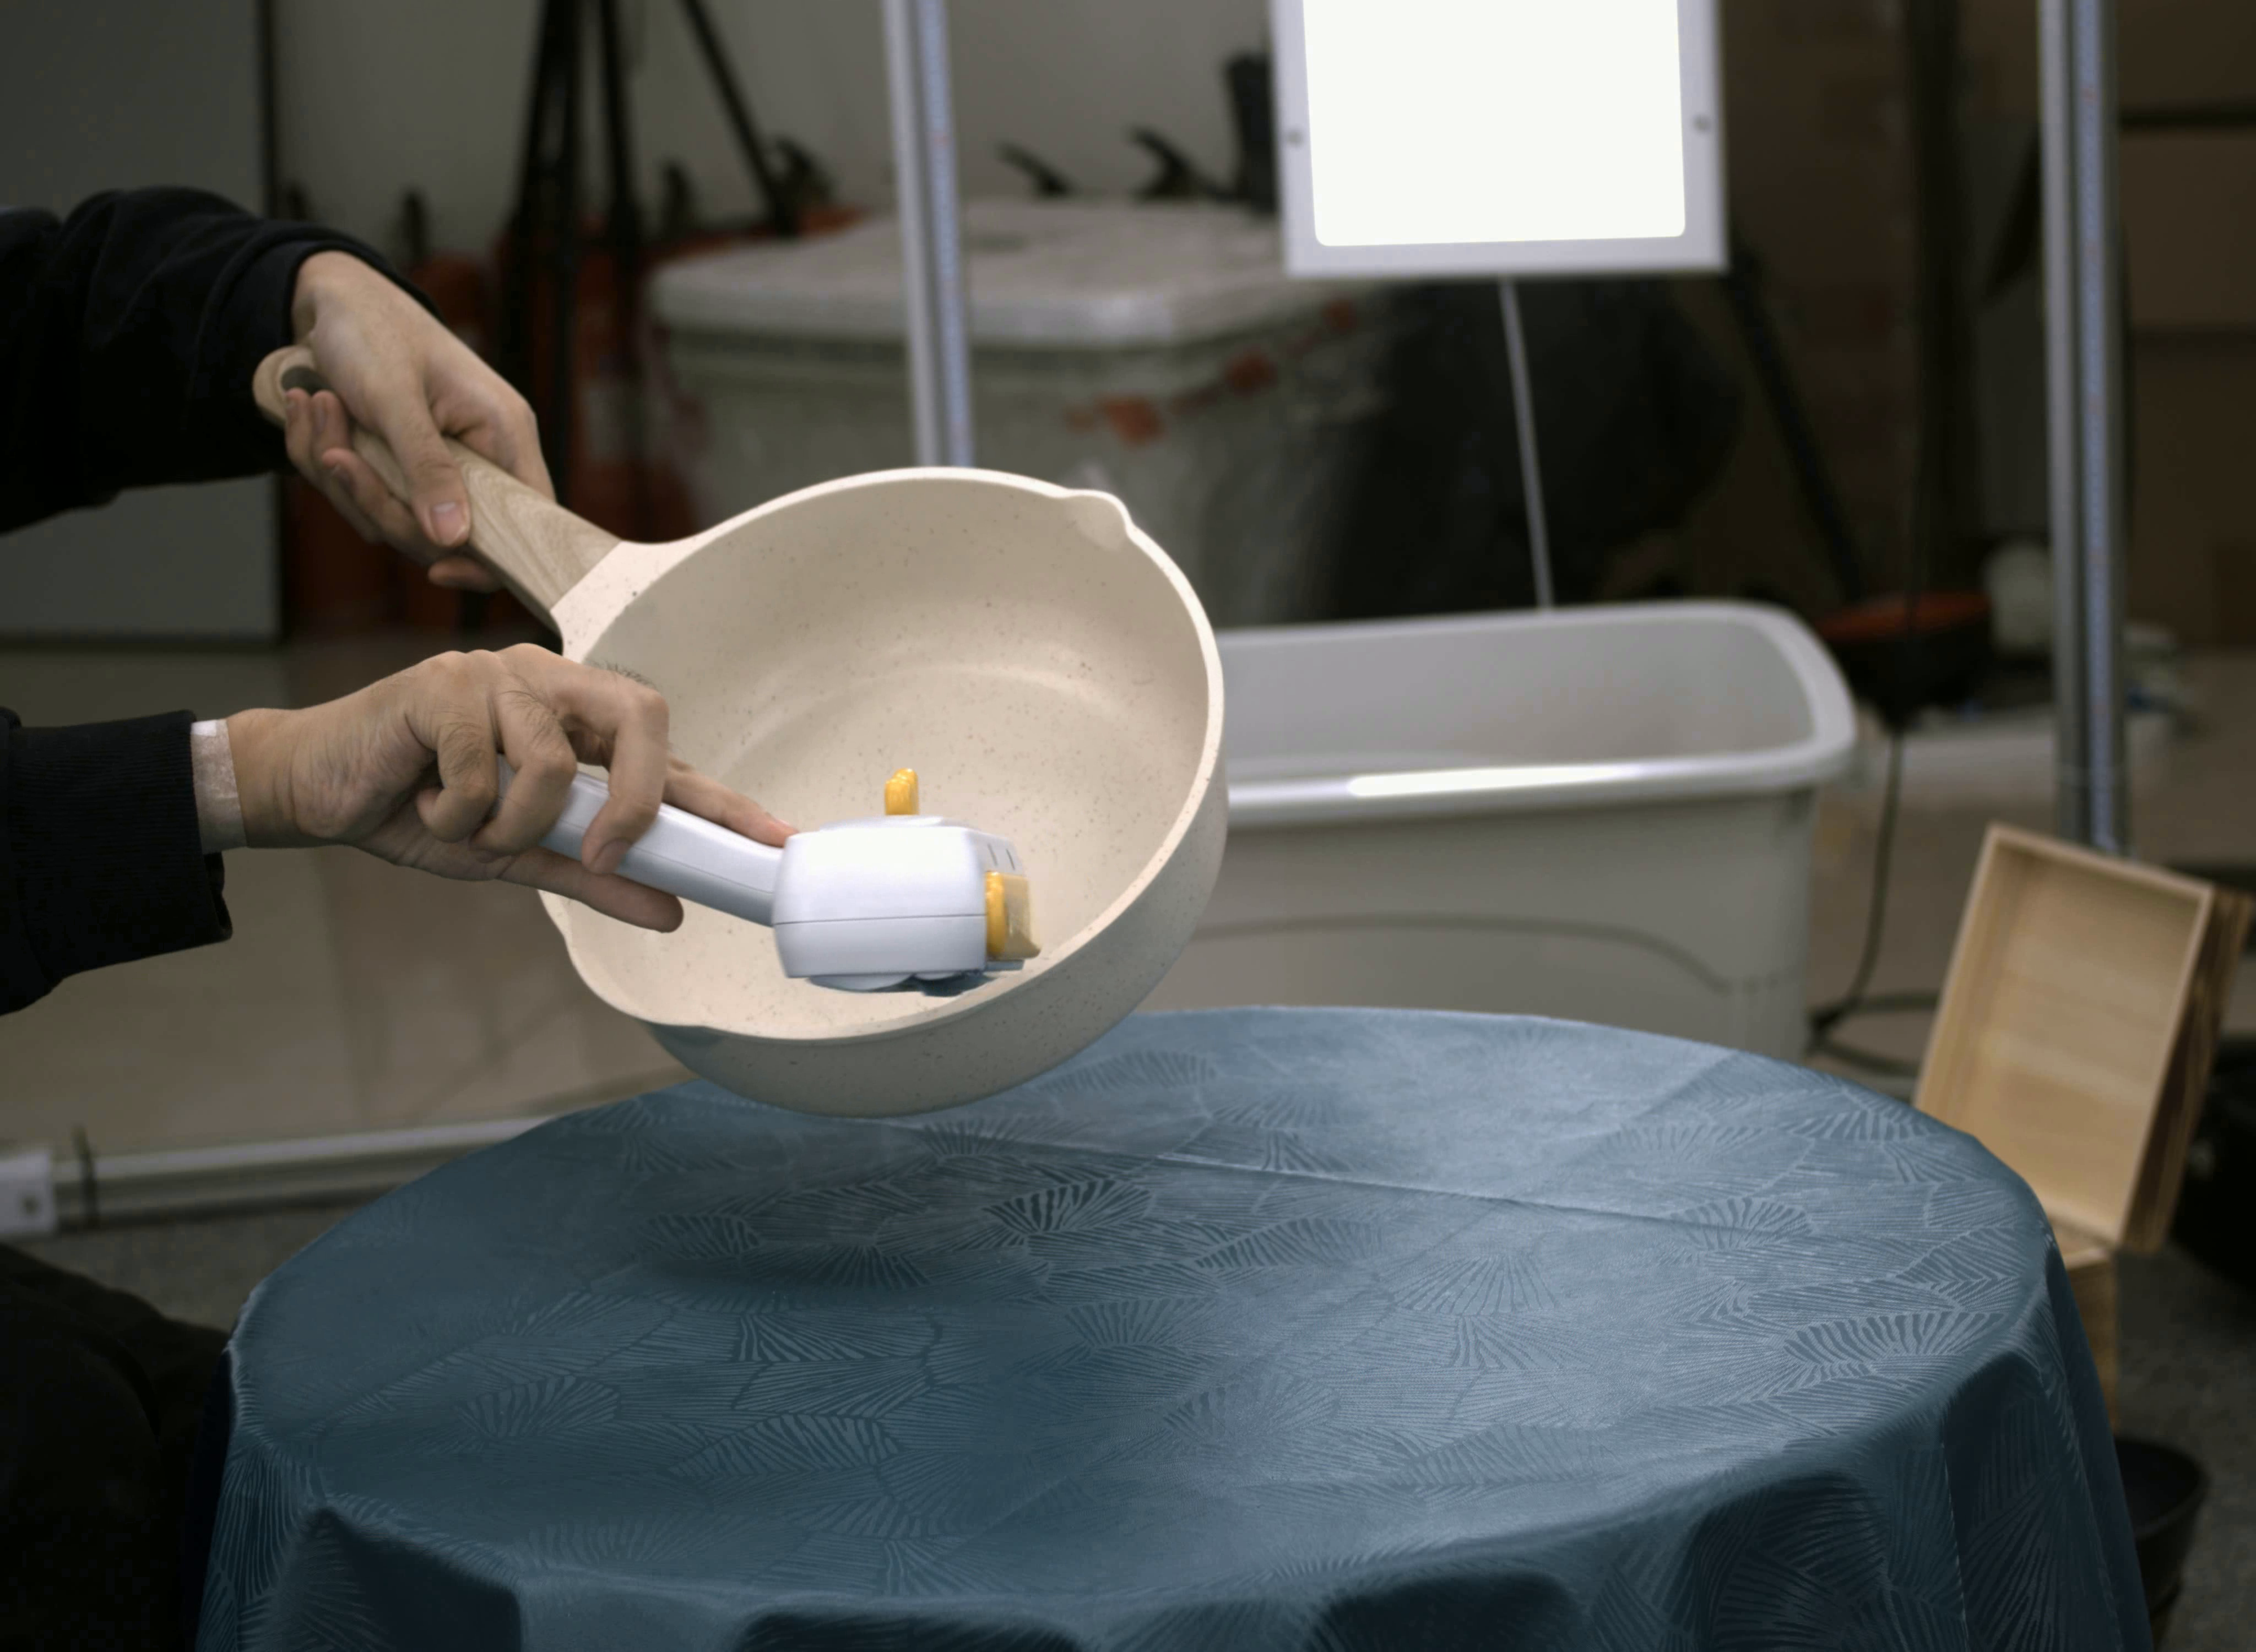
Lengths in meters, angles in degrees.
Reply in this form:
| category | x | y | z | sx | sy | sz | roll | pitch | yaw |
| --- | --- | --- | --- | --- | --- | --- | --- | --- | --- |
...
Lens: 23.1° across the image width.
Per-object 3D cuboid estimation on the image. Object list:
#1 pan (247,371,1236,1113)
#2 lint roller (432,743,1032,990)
| category | x | y | z | sx | sy | sz | roll | pitch | yaw |
| --- | --- | --- | --- | --- | --- | --- | --- | --- | --- |
| pan | -0.149 | -0.050 | 1.979 | 0.442 | 0.101 | 0.260 | 29 | 68 | 34 |
| lint roller | -0.125 | 0.012 | 1.735 | 0.192 | 0.074 | 0.192 | 6 | 3 | 2 |
